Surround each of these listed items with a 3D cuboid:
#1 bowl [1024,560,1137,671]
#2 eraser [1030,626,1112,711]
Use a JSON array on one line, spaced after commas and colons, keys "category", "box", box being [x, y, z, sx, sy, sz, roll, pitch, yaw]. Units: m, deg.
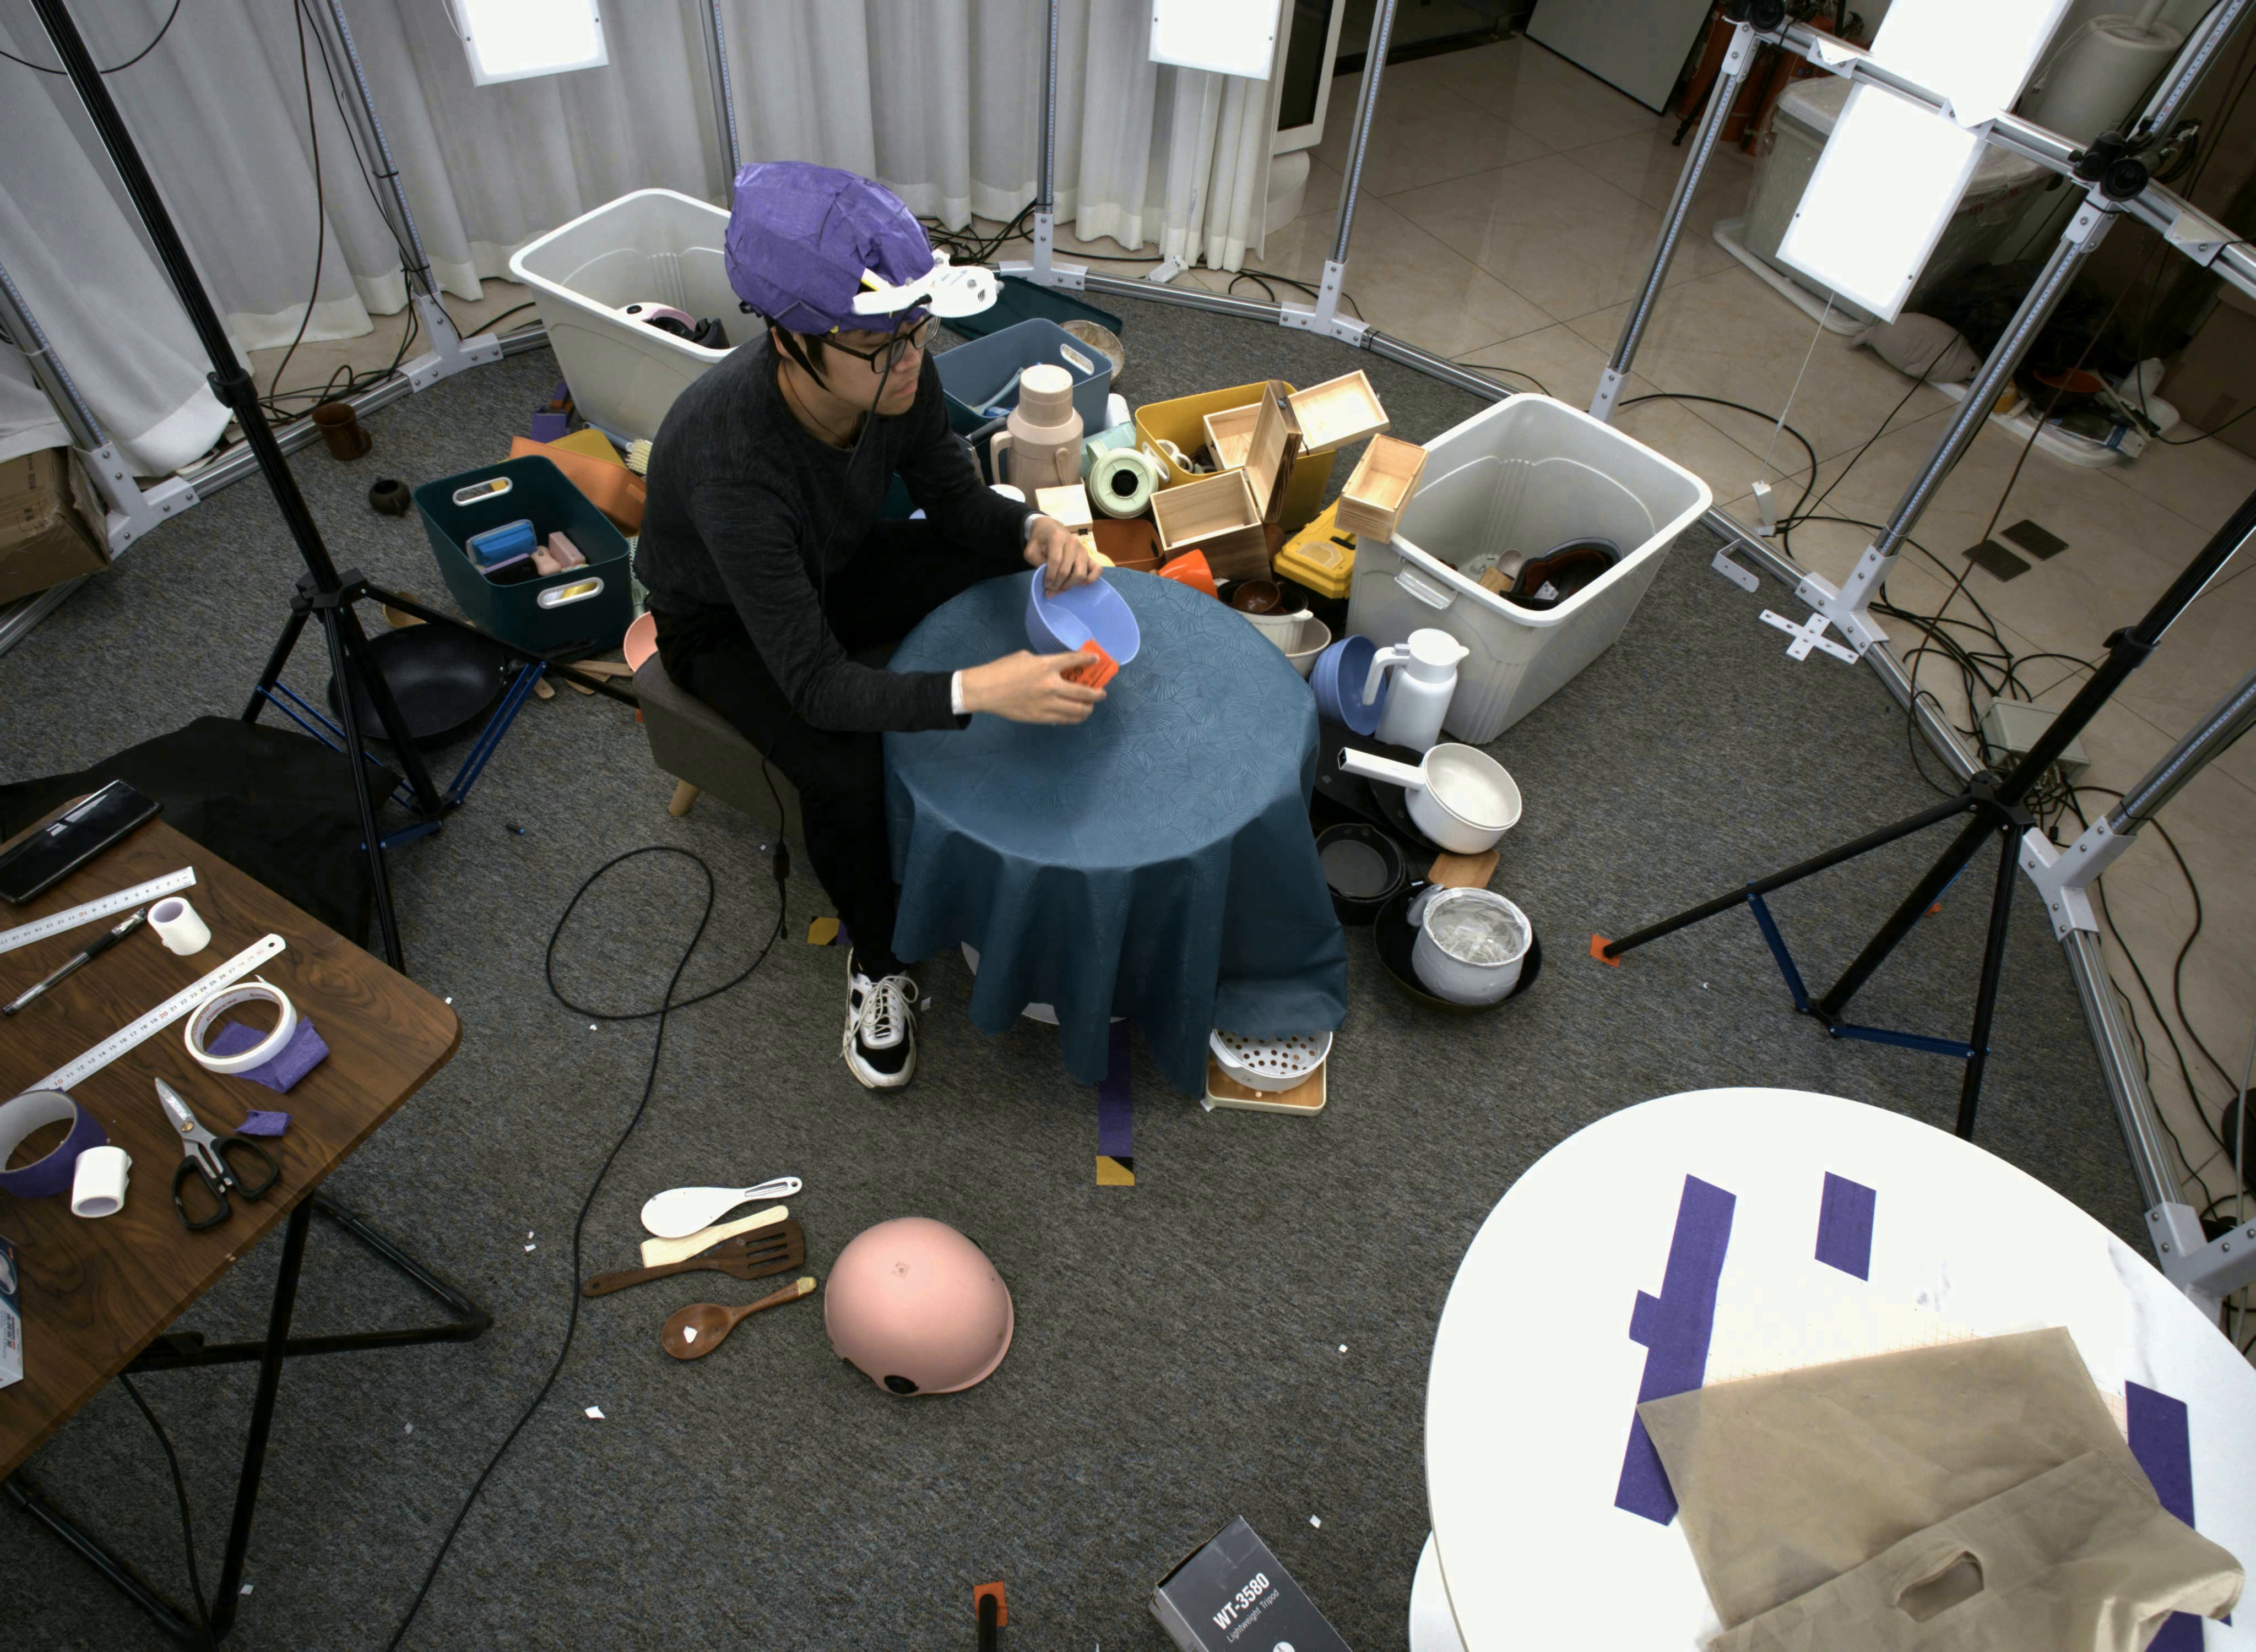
[{"category": "bowl", "box": [-0.076, -0.274, 1.759, 0.174, 0.069, 0.180, 23, 46, -26]}, {"category": "eraser", "box": [-0.073, -0.204, 1.660, 0.058, 0.023, 0.109, 41, 78, -10]}]
